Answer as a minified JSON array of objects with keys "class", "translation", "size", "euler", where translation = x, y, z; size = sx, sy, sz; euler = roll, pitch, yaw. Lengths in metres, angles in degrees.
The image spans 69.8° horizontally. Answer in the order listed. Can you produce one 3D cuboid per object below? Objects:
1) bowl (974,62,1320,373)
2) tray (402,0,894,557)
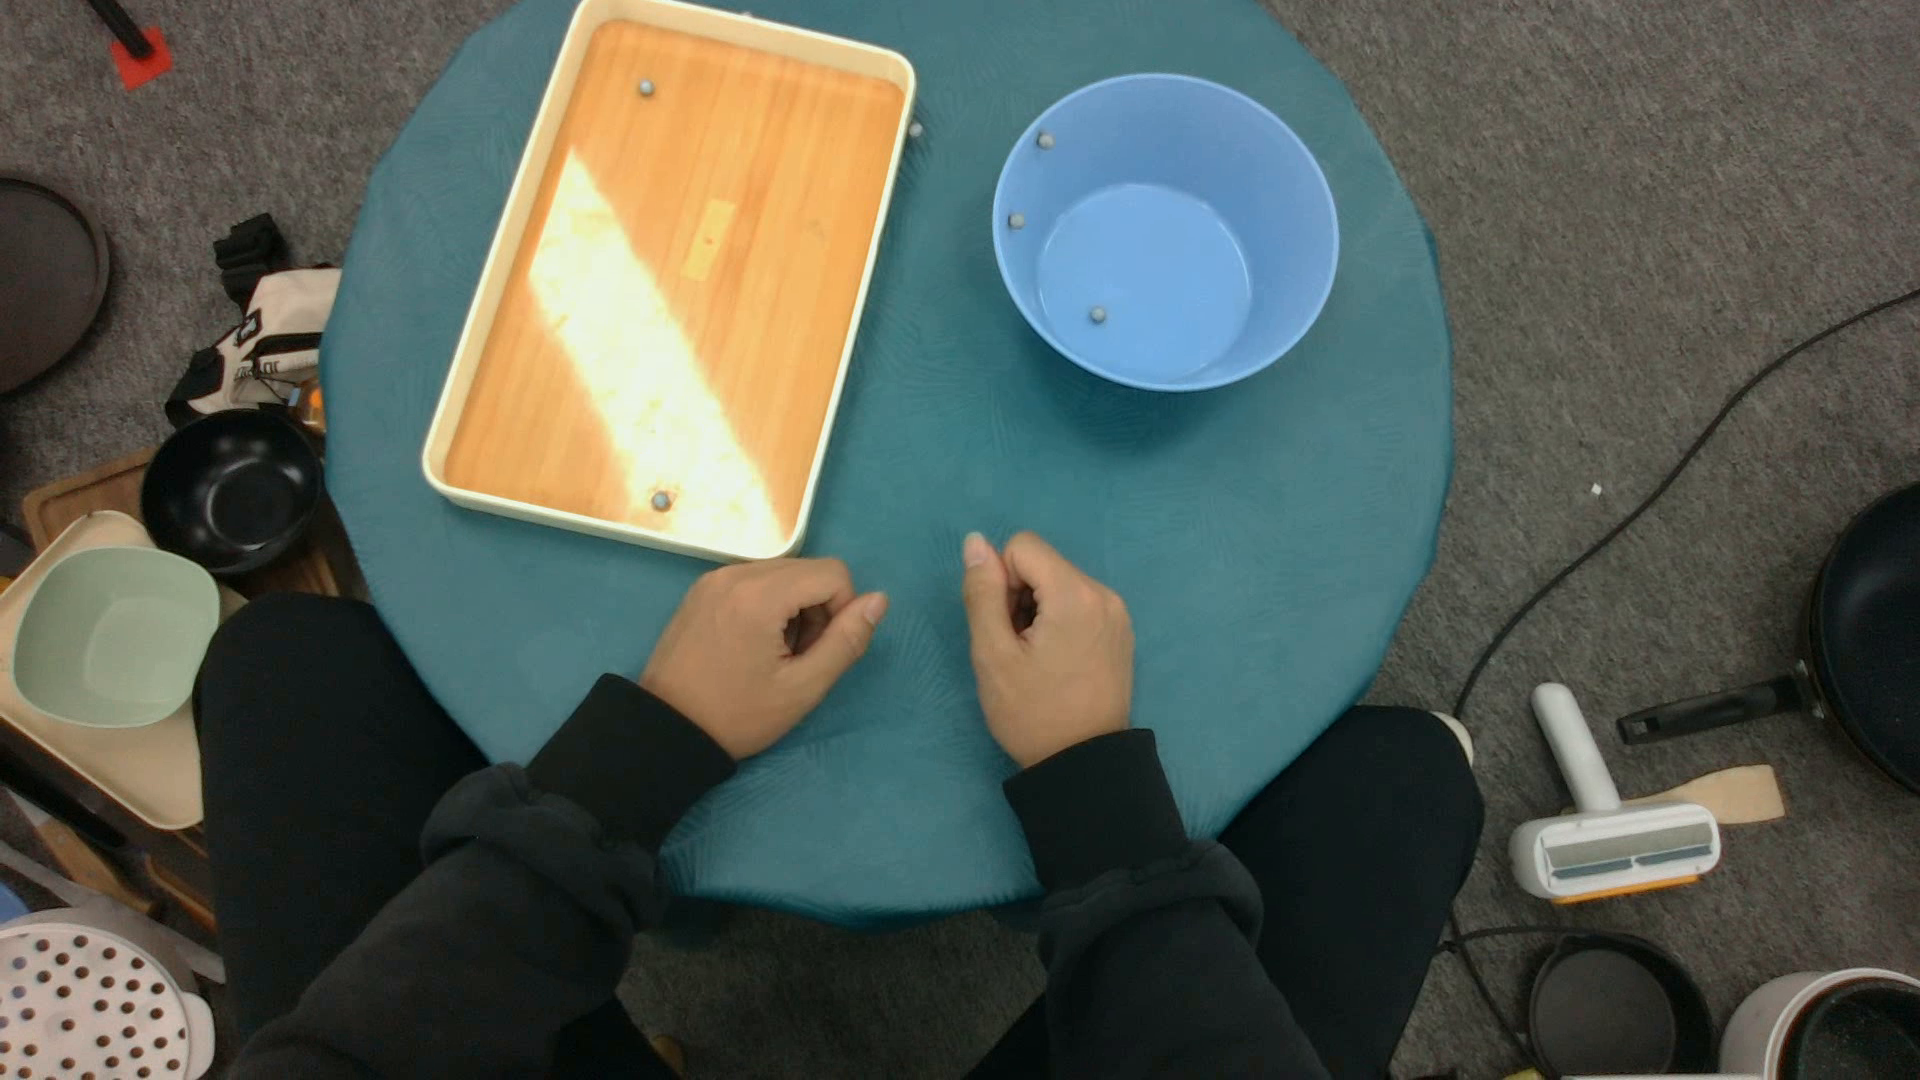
[{"class":"bowl","translation":[0.093,-0.157,0.723],"size":[0.176,0.070,0.176],"euler":[1,73,-3]},{"class":"tray","translation":[-0.155,-0.150,0.725],"size":[0.191,0.027,0.301],"euler":[12,73,-1]}]
